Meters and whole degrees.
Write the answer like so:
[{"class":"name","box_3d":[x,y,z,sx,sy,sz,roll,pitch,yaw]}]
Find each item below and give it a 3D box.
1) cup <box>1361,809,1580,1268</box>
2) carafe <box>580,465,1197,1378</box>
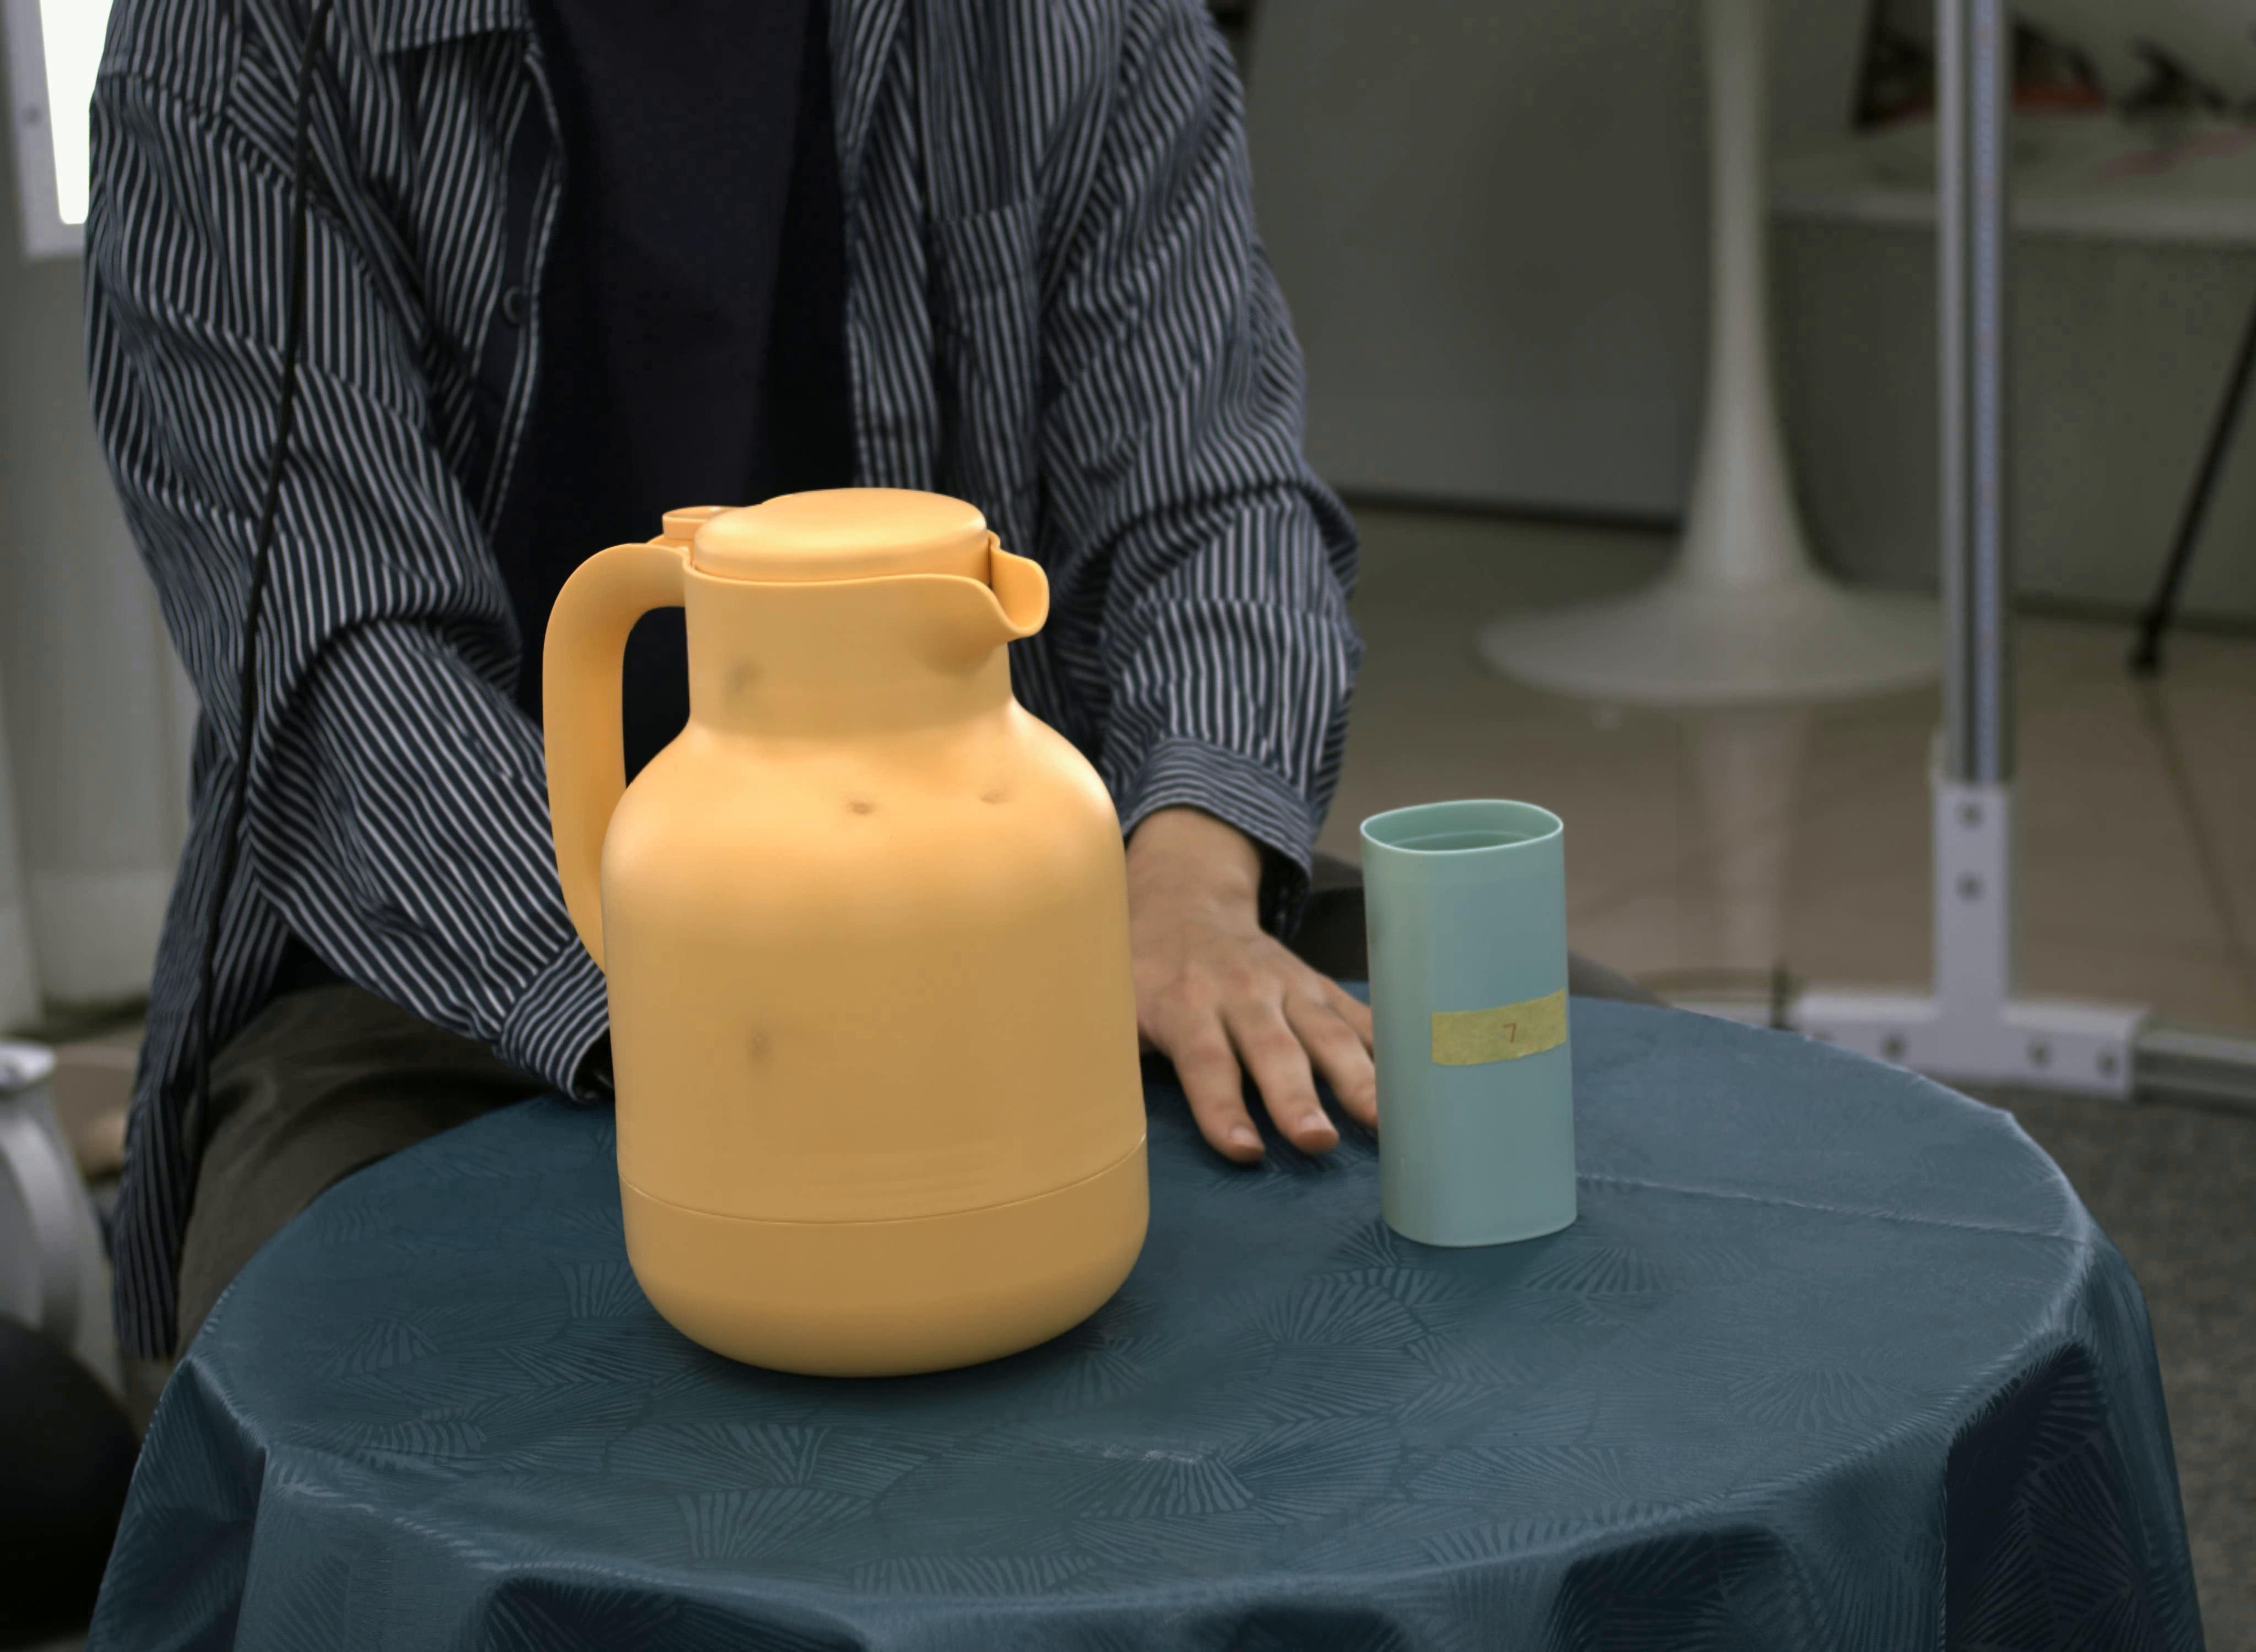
[{"class":"cup","box_3d":[0.109,0.066,1.704,0.066,0.134,0.067,-4,13,0]},{"class":"carafe","box_3d":[-0.079,0.023,1.644,0.204,0.263,0.160,7,16,37]}]
